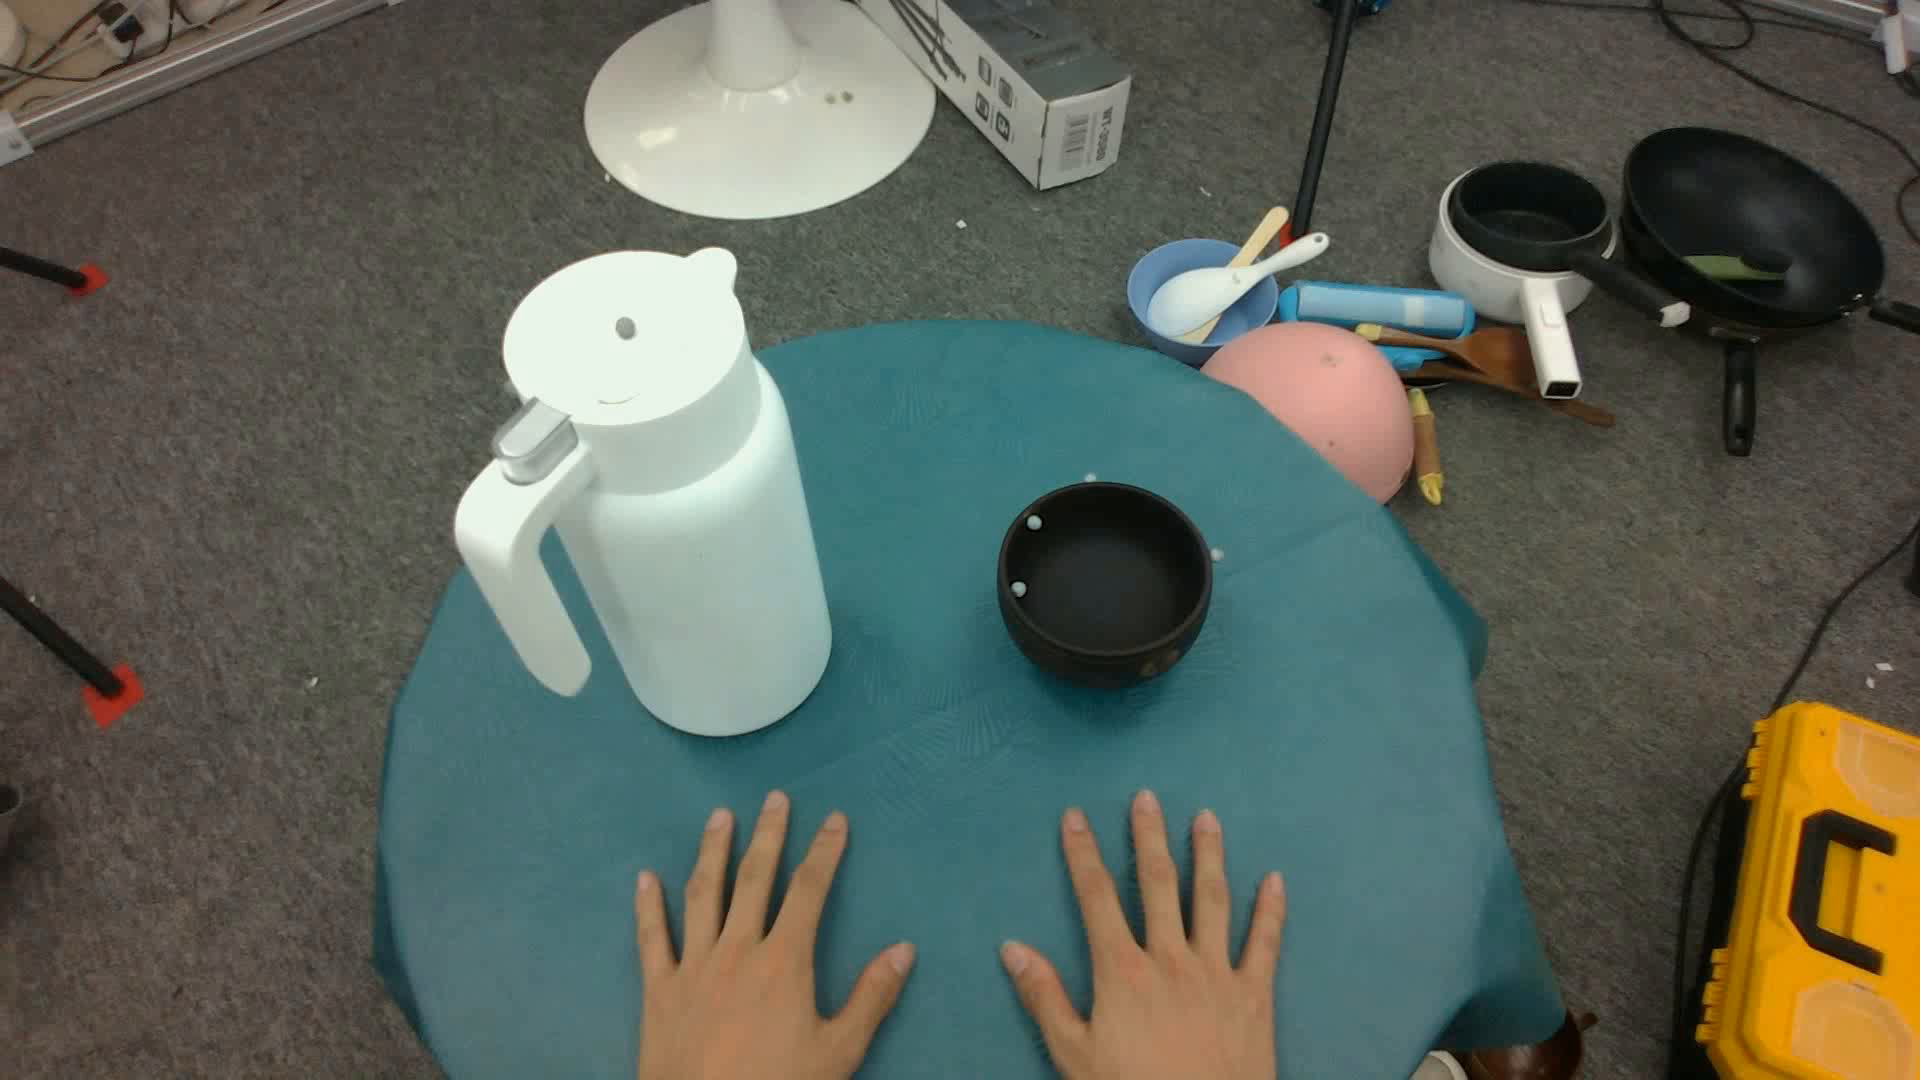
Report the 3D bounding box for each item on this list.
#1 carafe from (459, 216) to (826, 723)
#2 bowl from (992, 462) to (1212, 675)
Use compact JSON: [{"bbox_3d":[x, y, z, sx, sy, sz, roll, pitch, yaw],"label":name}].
[{"bbox_3d":[-0.144,-0.006,0.667,0.124,0.267,0.173,25,60,15],"label":"carafe"},{"bbox_3d":[0.077,0.022,0.760,0.118,0.069,0.118,0,56,1],"label":"bowl"}]
